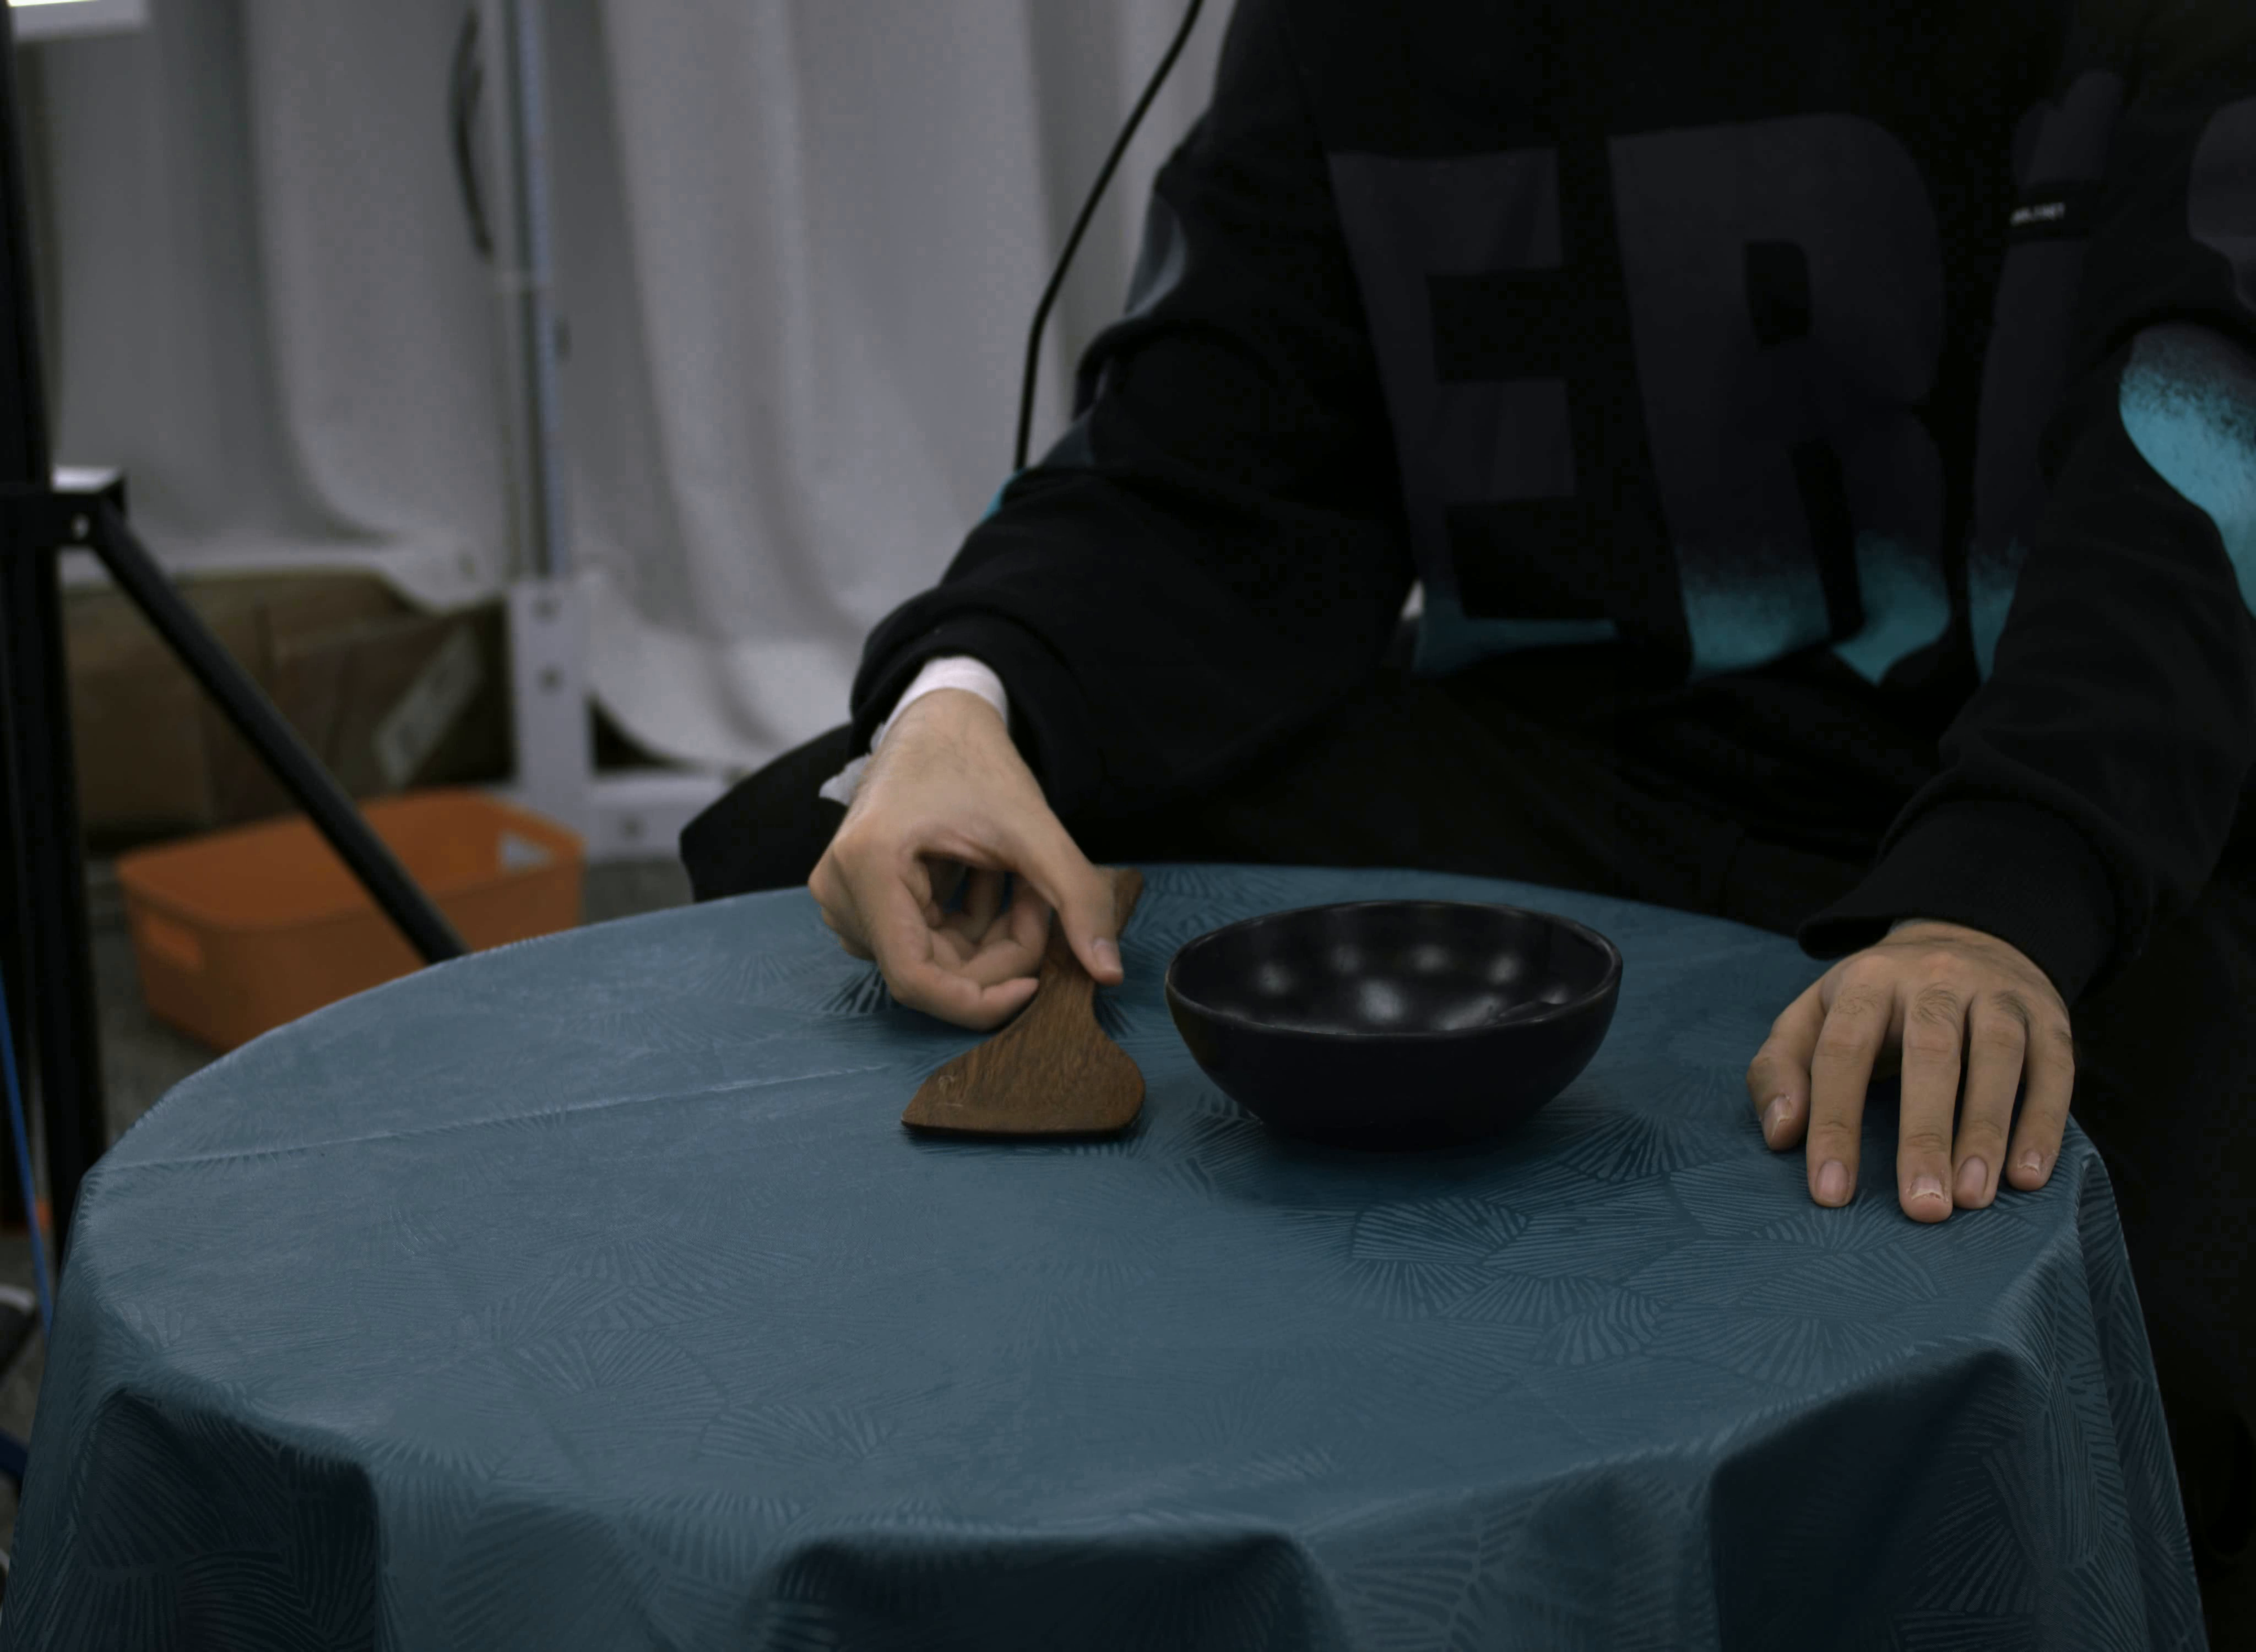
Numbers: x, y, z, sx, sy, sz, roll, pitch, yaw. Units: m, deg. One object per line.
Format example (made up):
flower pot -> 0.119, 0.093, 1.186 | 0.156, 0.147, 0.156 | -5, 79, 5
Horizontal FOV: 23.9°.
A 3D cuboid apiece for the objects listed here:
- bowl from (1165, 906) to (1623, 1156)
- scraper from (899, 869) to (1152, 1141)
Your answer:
bowl -> 0.082, 0.066, 1.605 | 0.139, 0.050, 0.140 | -5, 14, 0
scraper -> -0.021, 0.056, 1.699 | 0.076, 0.011, 0.211 | 0, 23, 8
